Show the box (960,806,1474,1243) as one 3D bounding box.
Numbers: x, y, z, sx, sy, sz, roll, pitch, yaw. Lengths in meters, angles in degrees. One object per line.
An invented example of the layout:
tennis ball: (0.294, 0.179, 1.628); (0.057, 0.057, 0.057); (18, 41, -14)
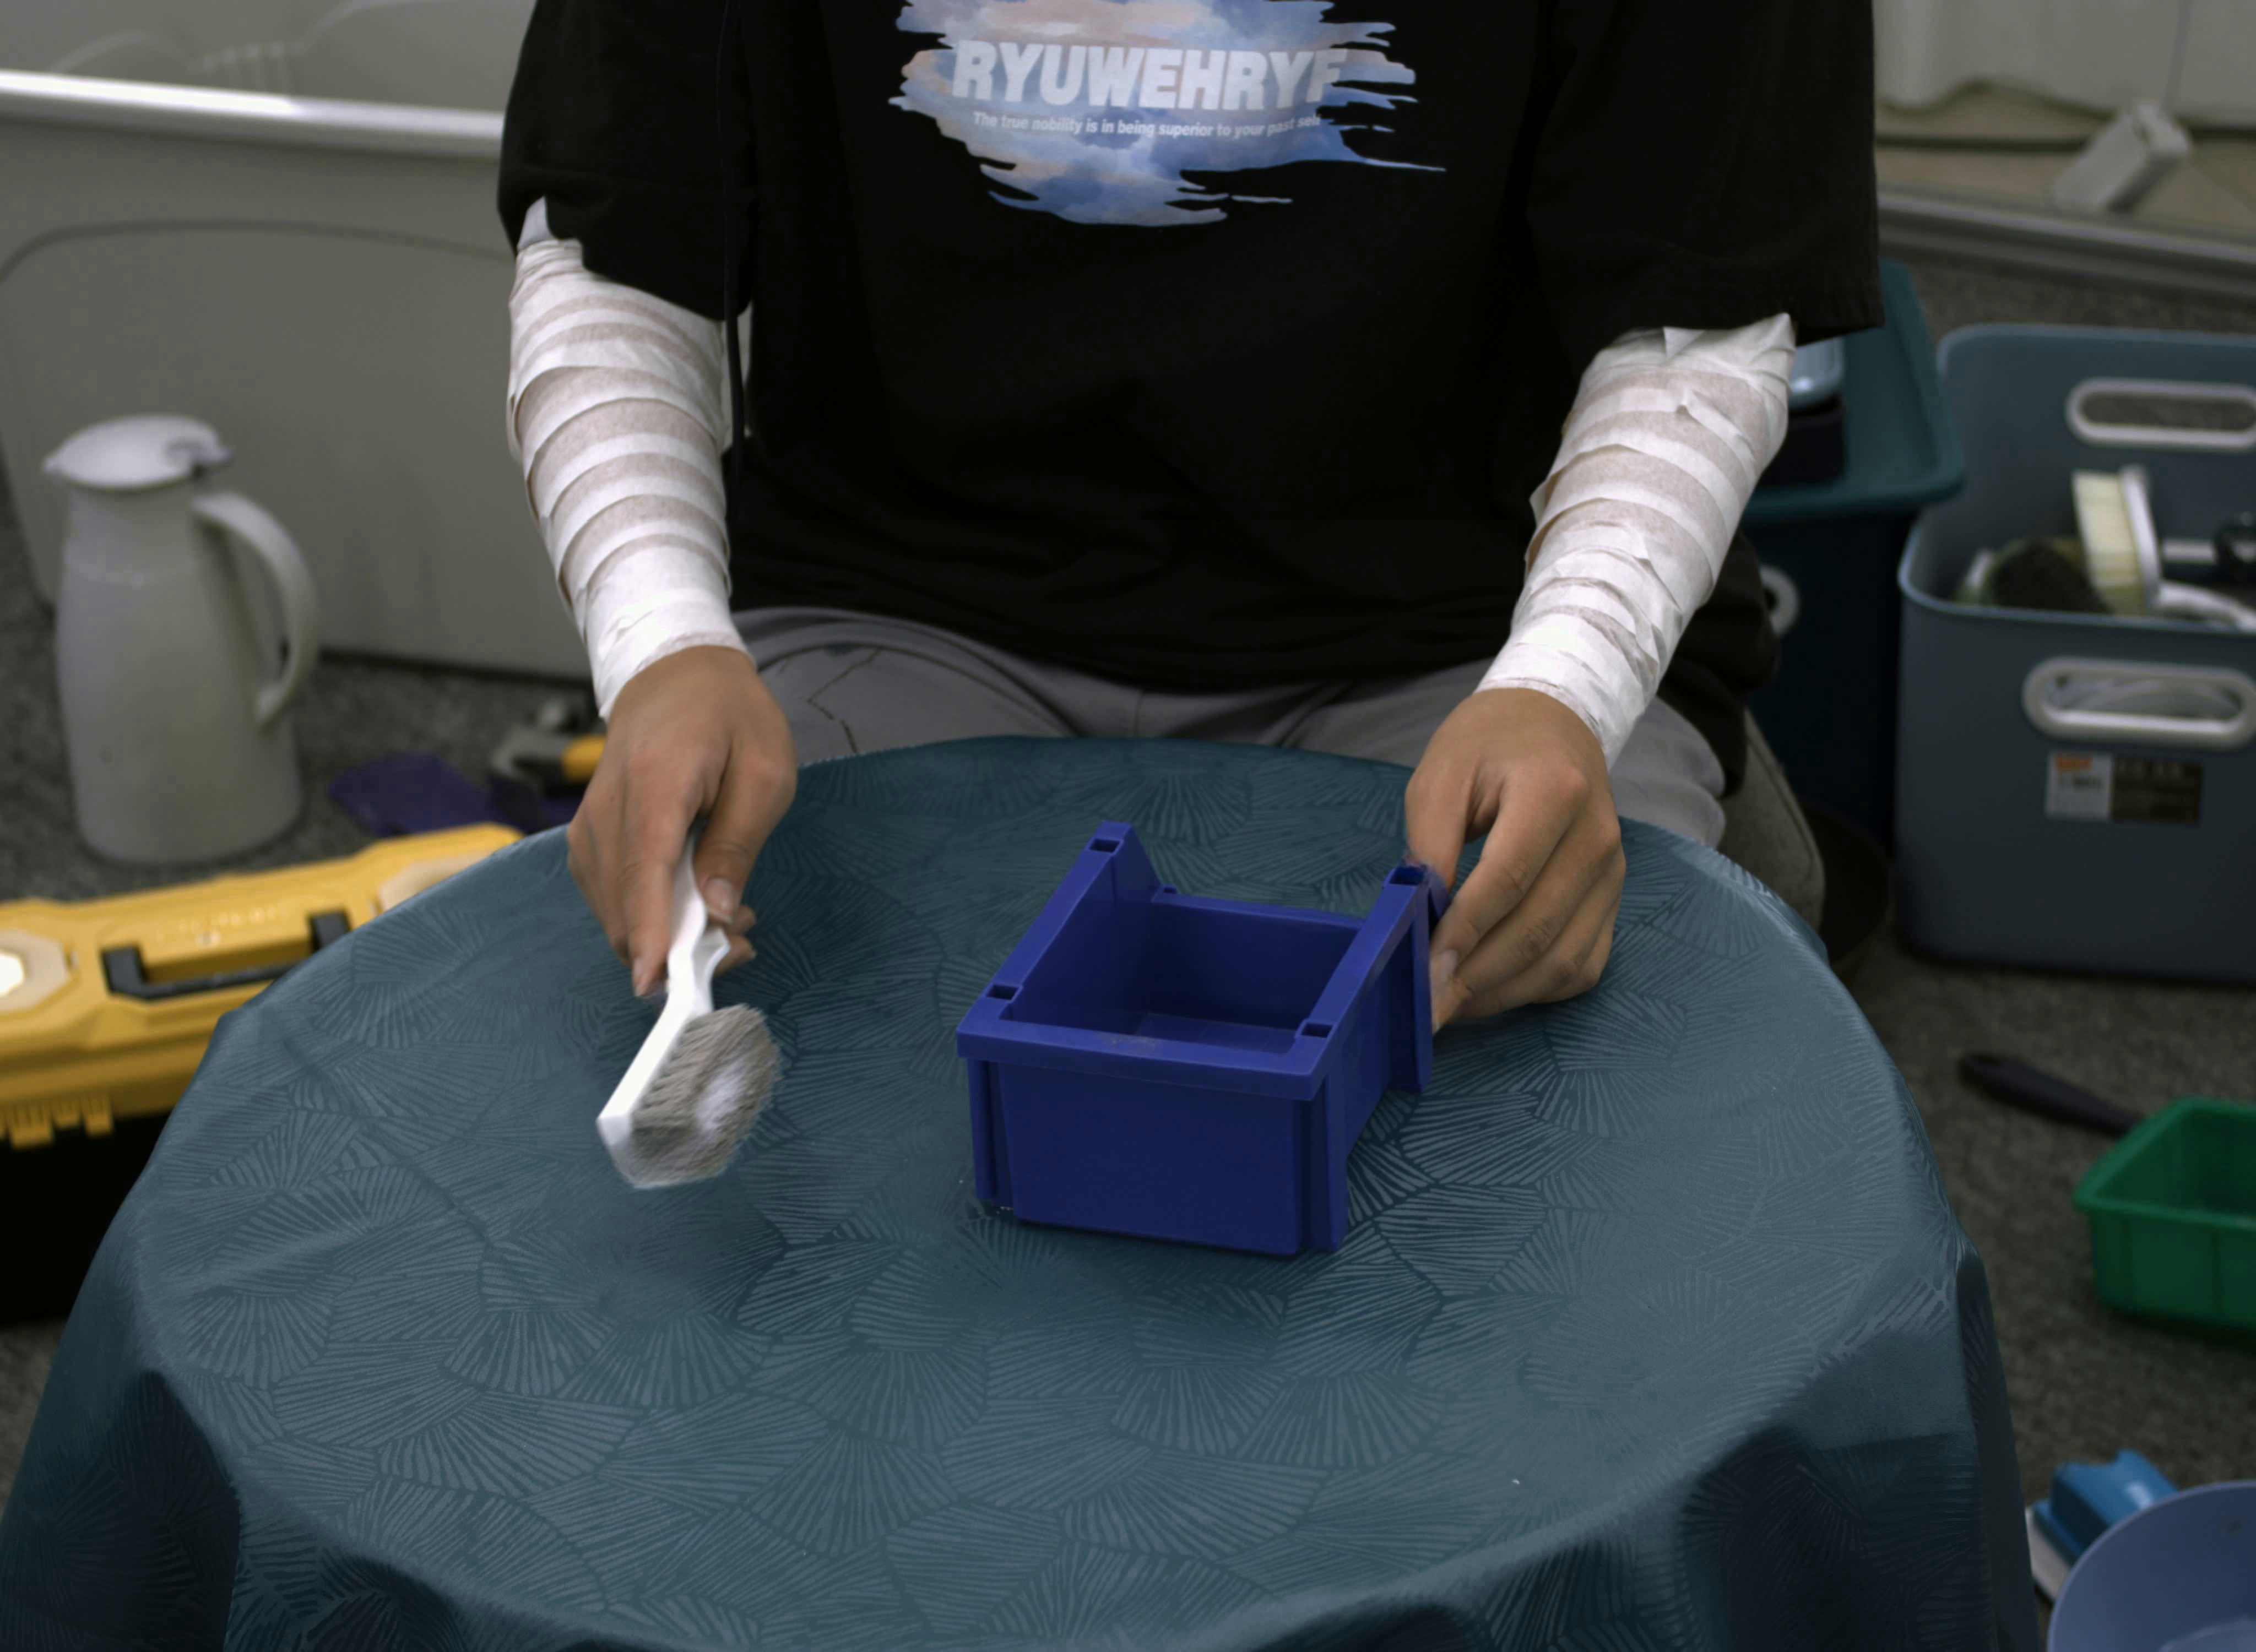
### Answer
box: (0.031, 0.061, 1.888); (0.123, 0.081, 0.182); (6, 30, 19)

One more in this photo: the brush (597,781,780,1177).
brush: (-0.134, 0.043, 1.909); (0.050, 0.034, 0.248); (-20, 24, 16)
